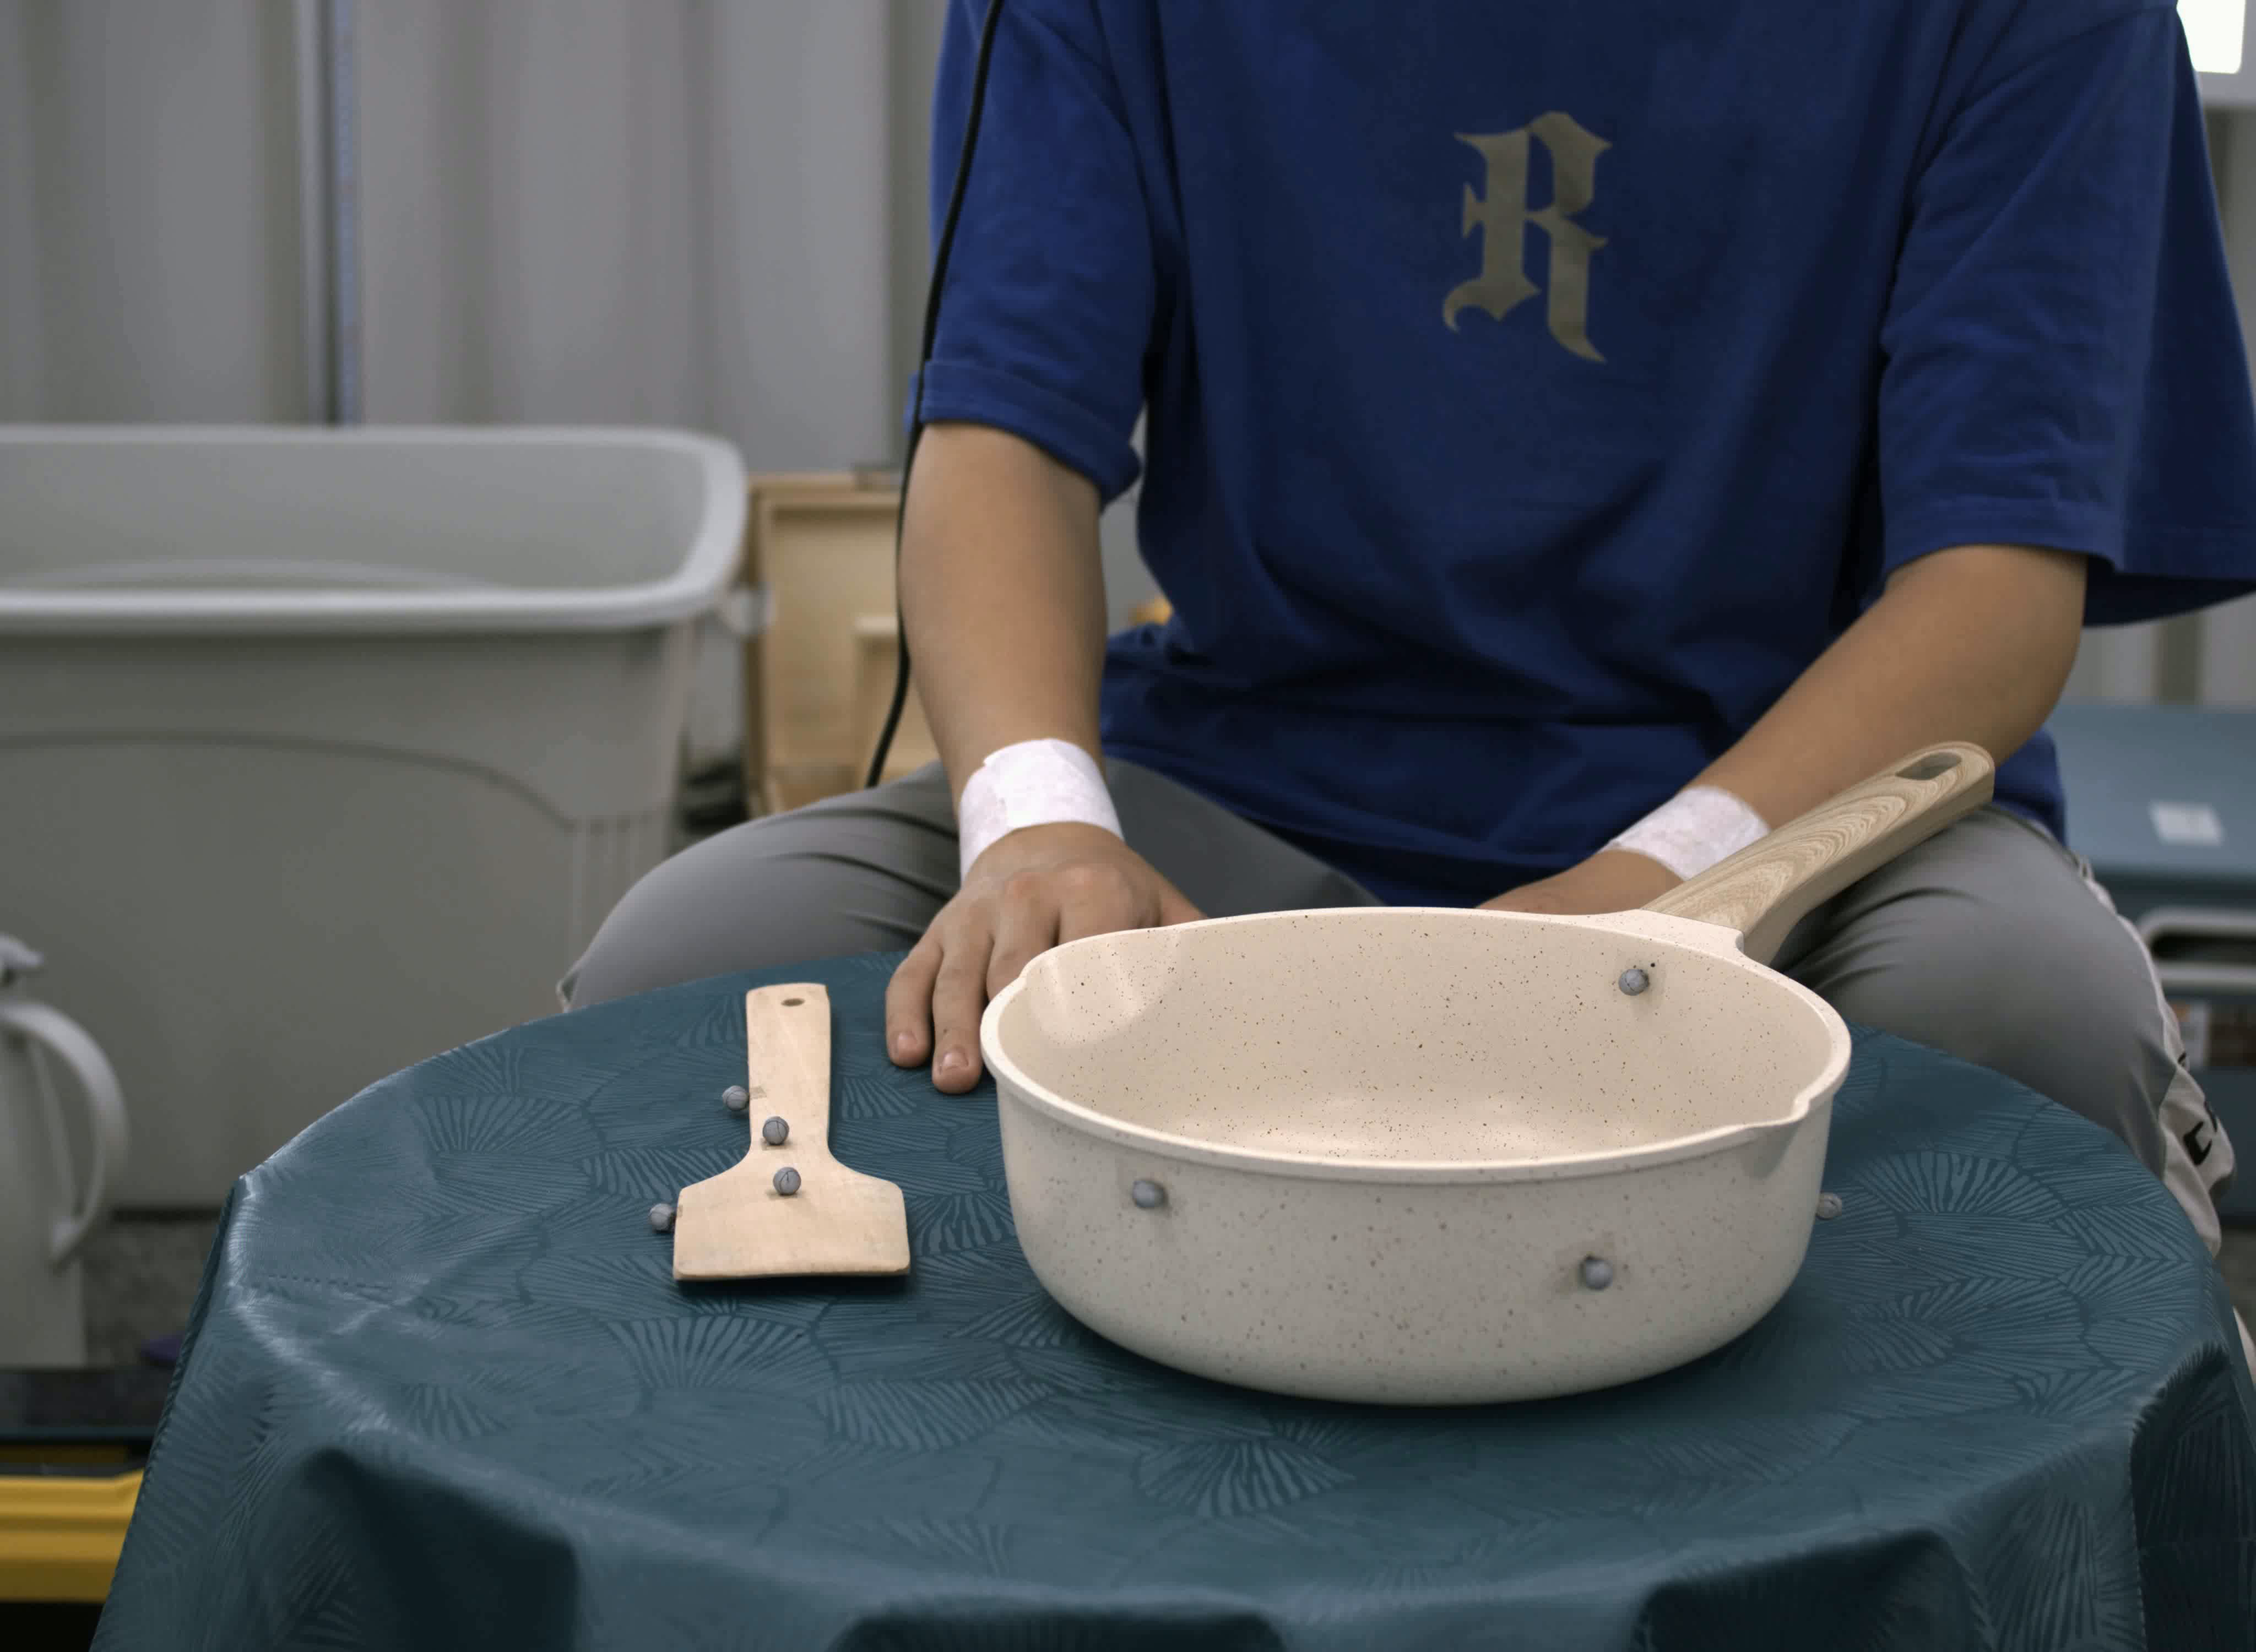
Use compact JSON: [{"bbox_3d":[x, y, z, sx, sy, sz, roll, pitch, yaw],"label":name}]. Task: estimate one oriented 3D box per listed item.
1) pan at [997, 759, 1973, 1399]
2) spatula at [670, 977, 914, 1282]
[{"bbox_3d":[0.143,0.070,1.593,0.260,0.103,0.437,10,18,36],"label":"pan"},{"bbox_3d":[-0.107,0.094,1.668,0.072,0.011,0.291,-2,16,-3],"label":"spatula"}]
